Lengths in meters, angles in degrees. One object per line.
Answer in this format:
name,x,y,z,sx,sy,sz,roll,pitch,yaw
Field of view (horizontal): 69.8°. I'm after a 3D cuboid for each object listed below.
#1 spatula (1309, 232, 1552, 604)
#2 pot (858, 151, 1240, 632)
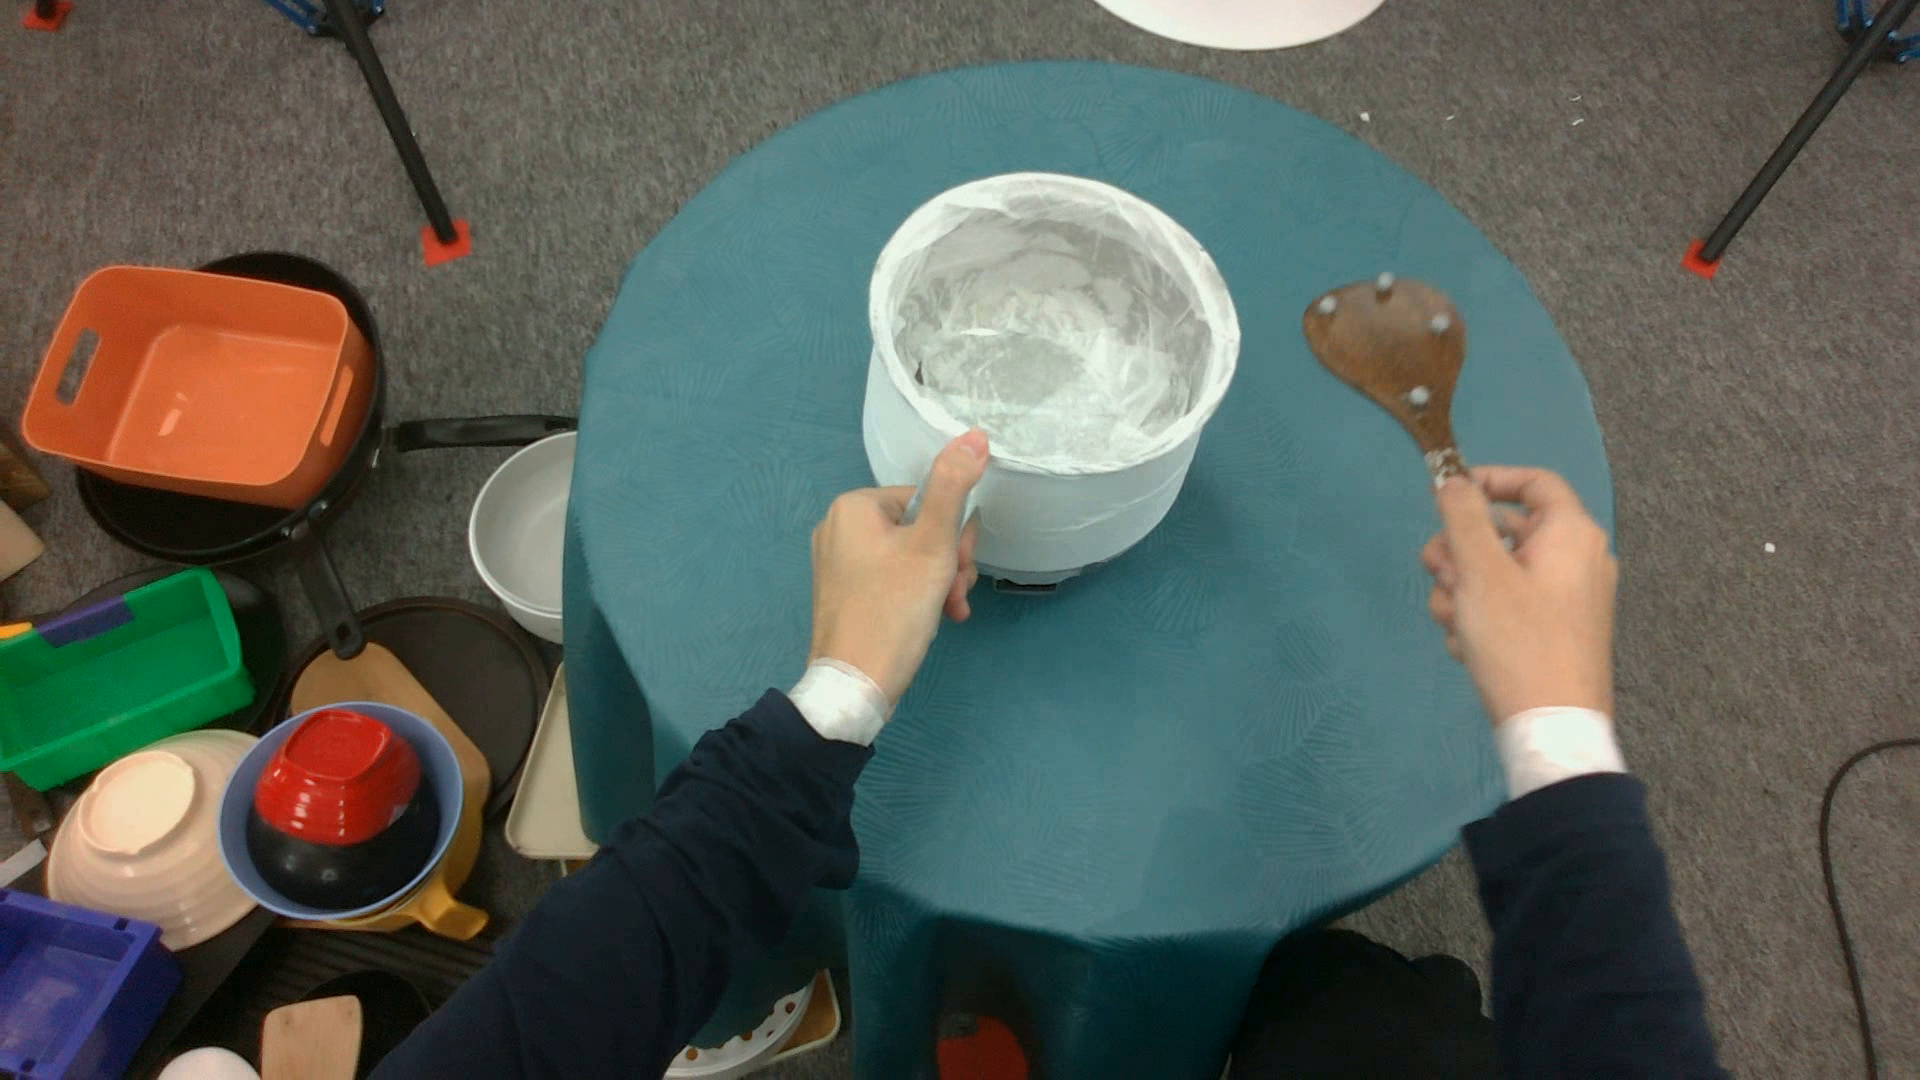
spatula,0.211,-0.061,0.610,0.072,0.009,0.216,-13,55,6
pot,0.026,-0.065,0.688,0.178,0.136,0.235,27,62,8
